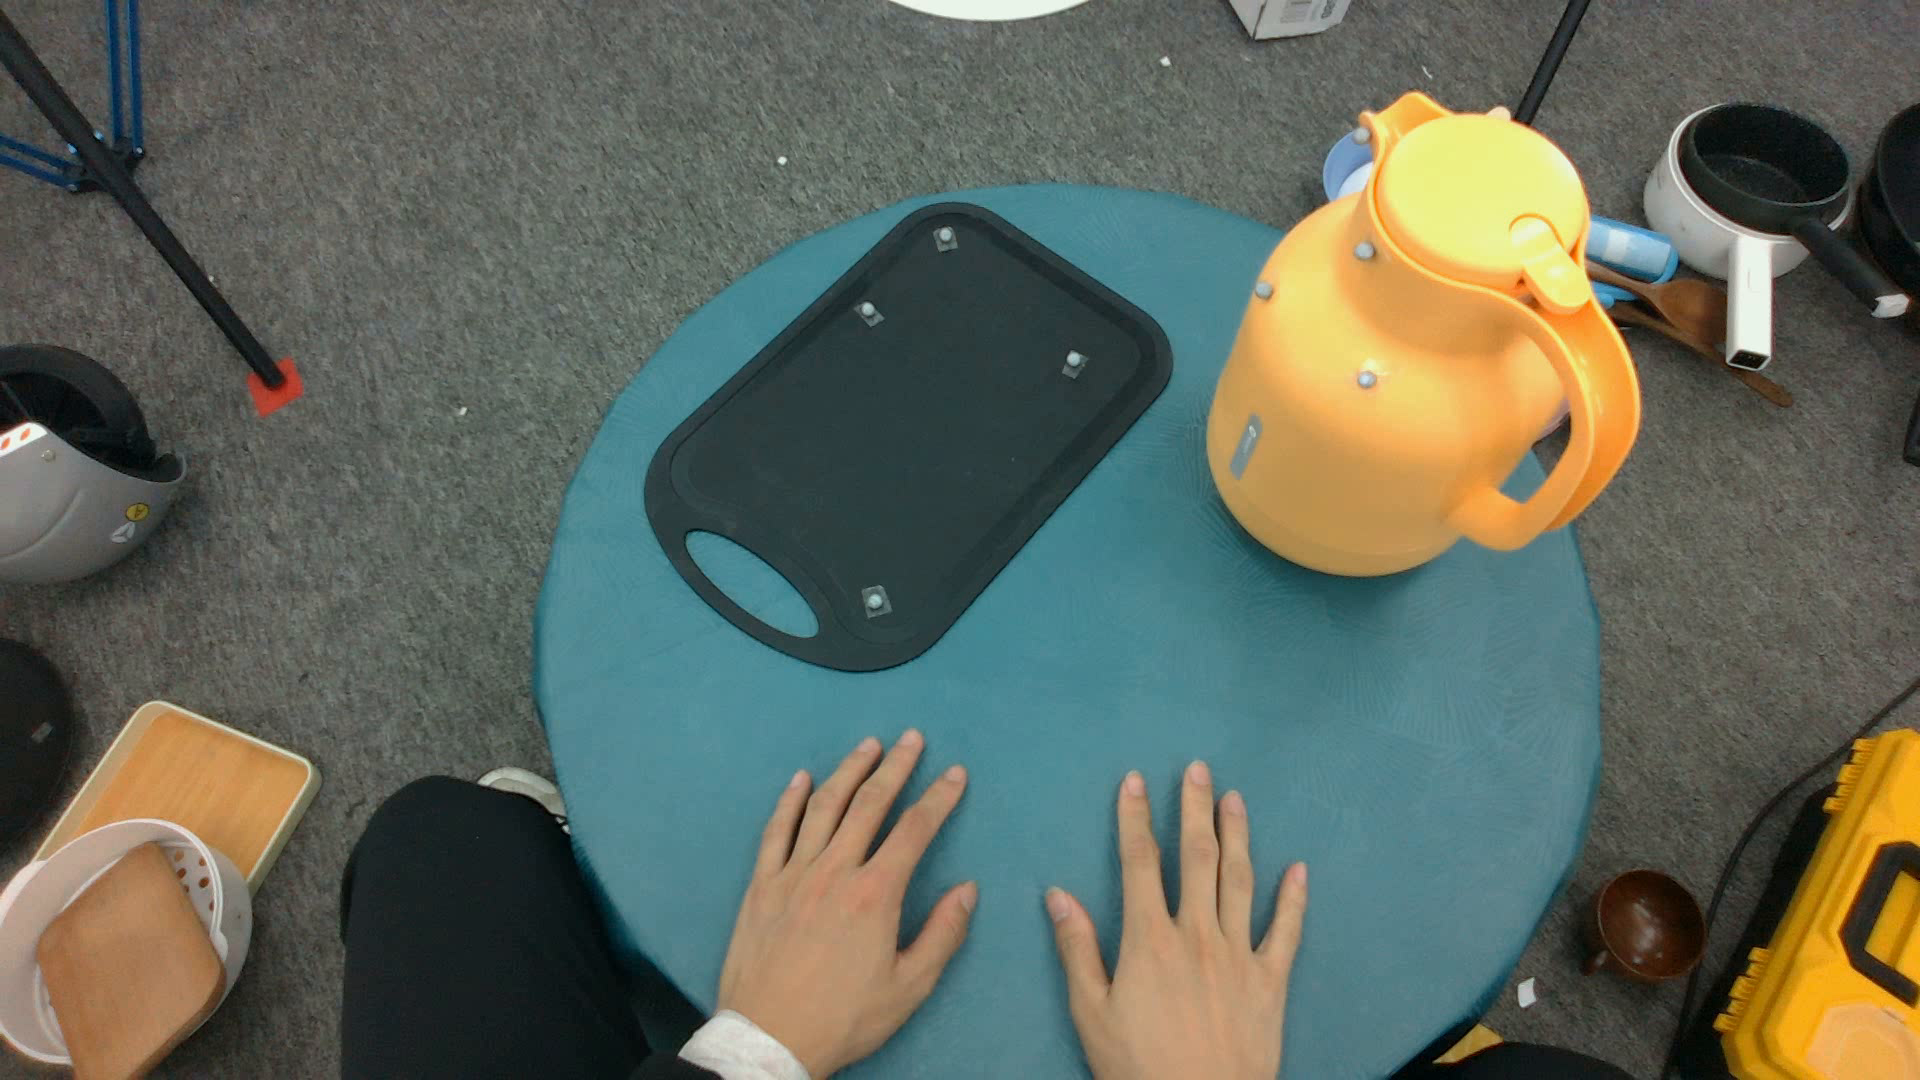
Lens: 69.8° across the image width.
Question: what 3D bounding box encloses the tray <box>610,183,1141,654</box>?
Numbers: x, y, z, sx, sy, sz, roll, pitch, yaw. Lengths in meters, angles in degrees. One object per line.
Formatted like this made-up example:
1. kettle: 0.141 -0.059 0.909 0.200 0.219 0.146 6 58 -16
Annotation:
1. tray: -0.050 -0.081 0.828 0.211 0.010 0.326 37 68 15

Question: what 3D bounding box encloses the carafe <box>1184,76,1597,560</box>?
1. carafe: 0.219 -0.091 0.706 0.164 0.259 0.203 -23 66 -11
